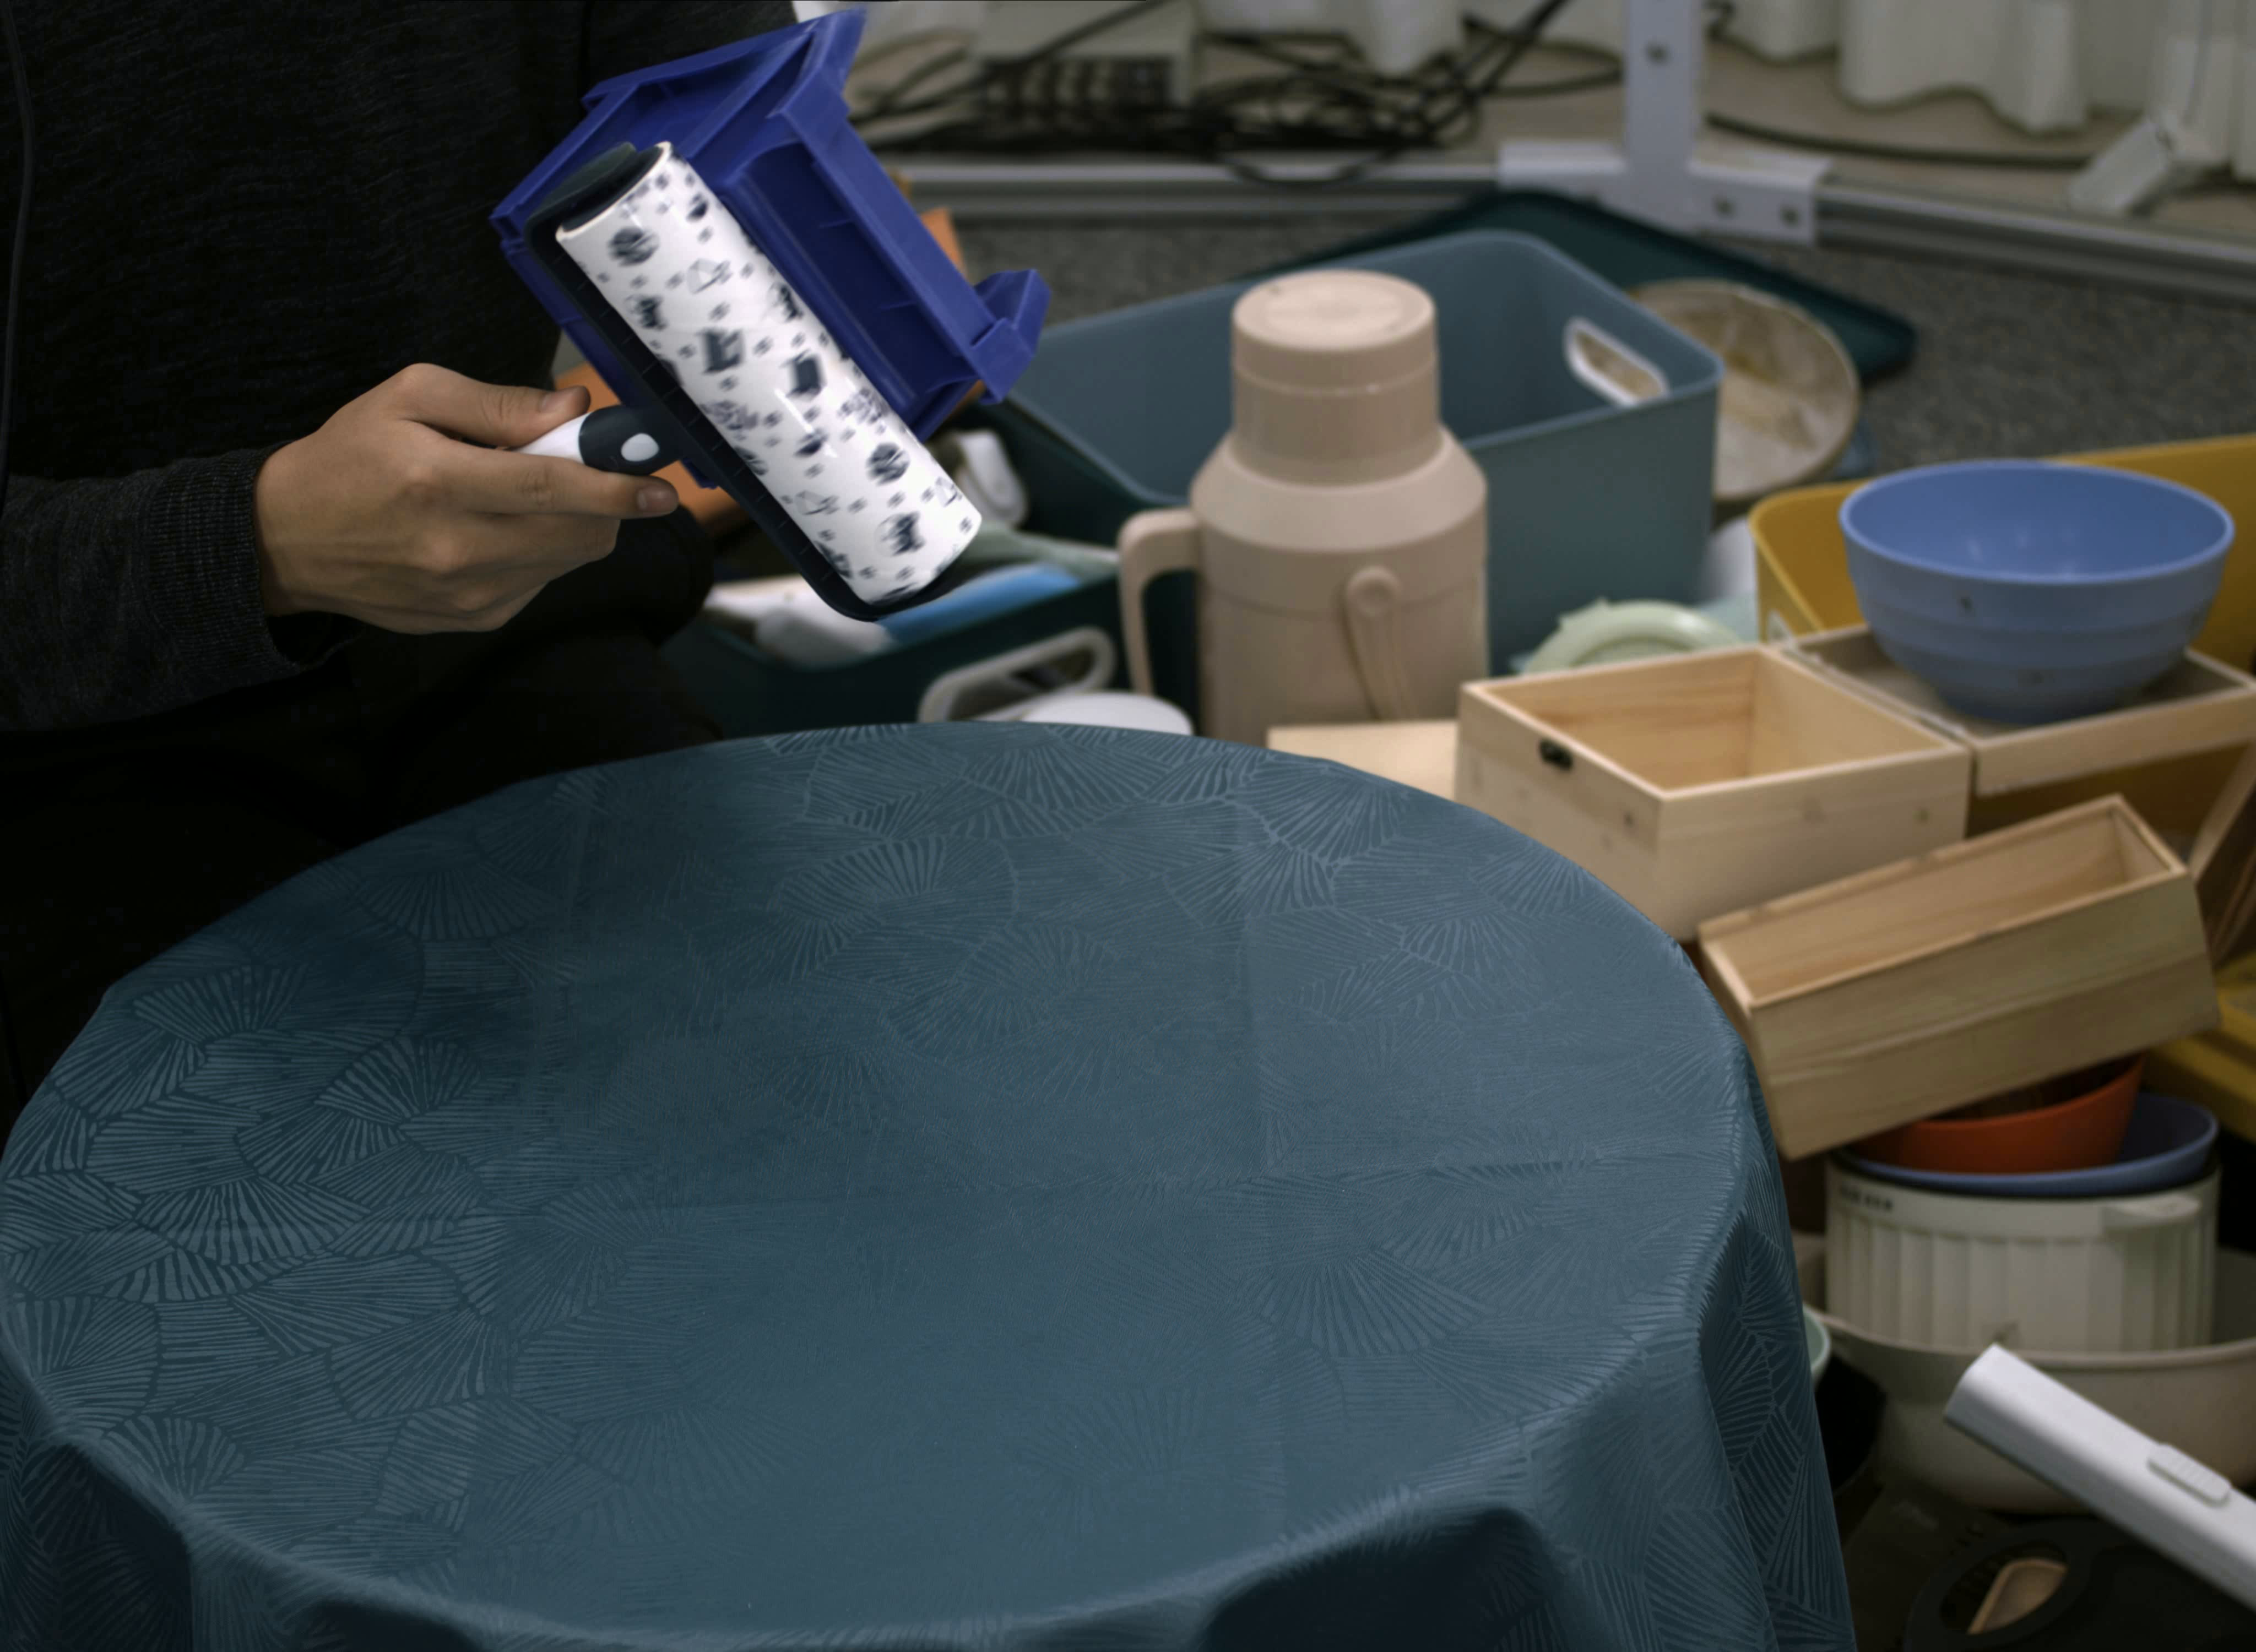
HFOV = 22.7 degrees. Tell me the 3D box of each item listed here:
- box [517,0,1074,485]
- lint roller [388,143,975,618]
[{"bbox_3d":[-0.106,-0.192,1.864,0.177,0.124,0.083,-10,34,51],"label":"box"},{"bbox_3d":[-0.177,-0.120,1.878,0.243,0.175,0.051,-21,26,47],"label":"lint roller"}]
